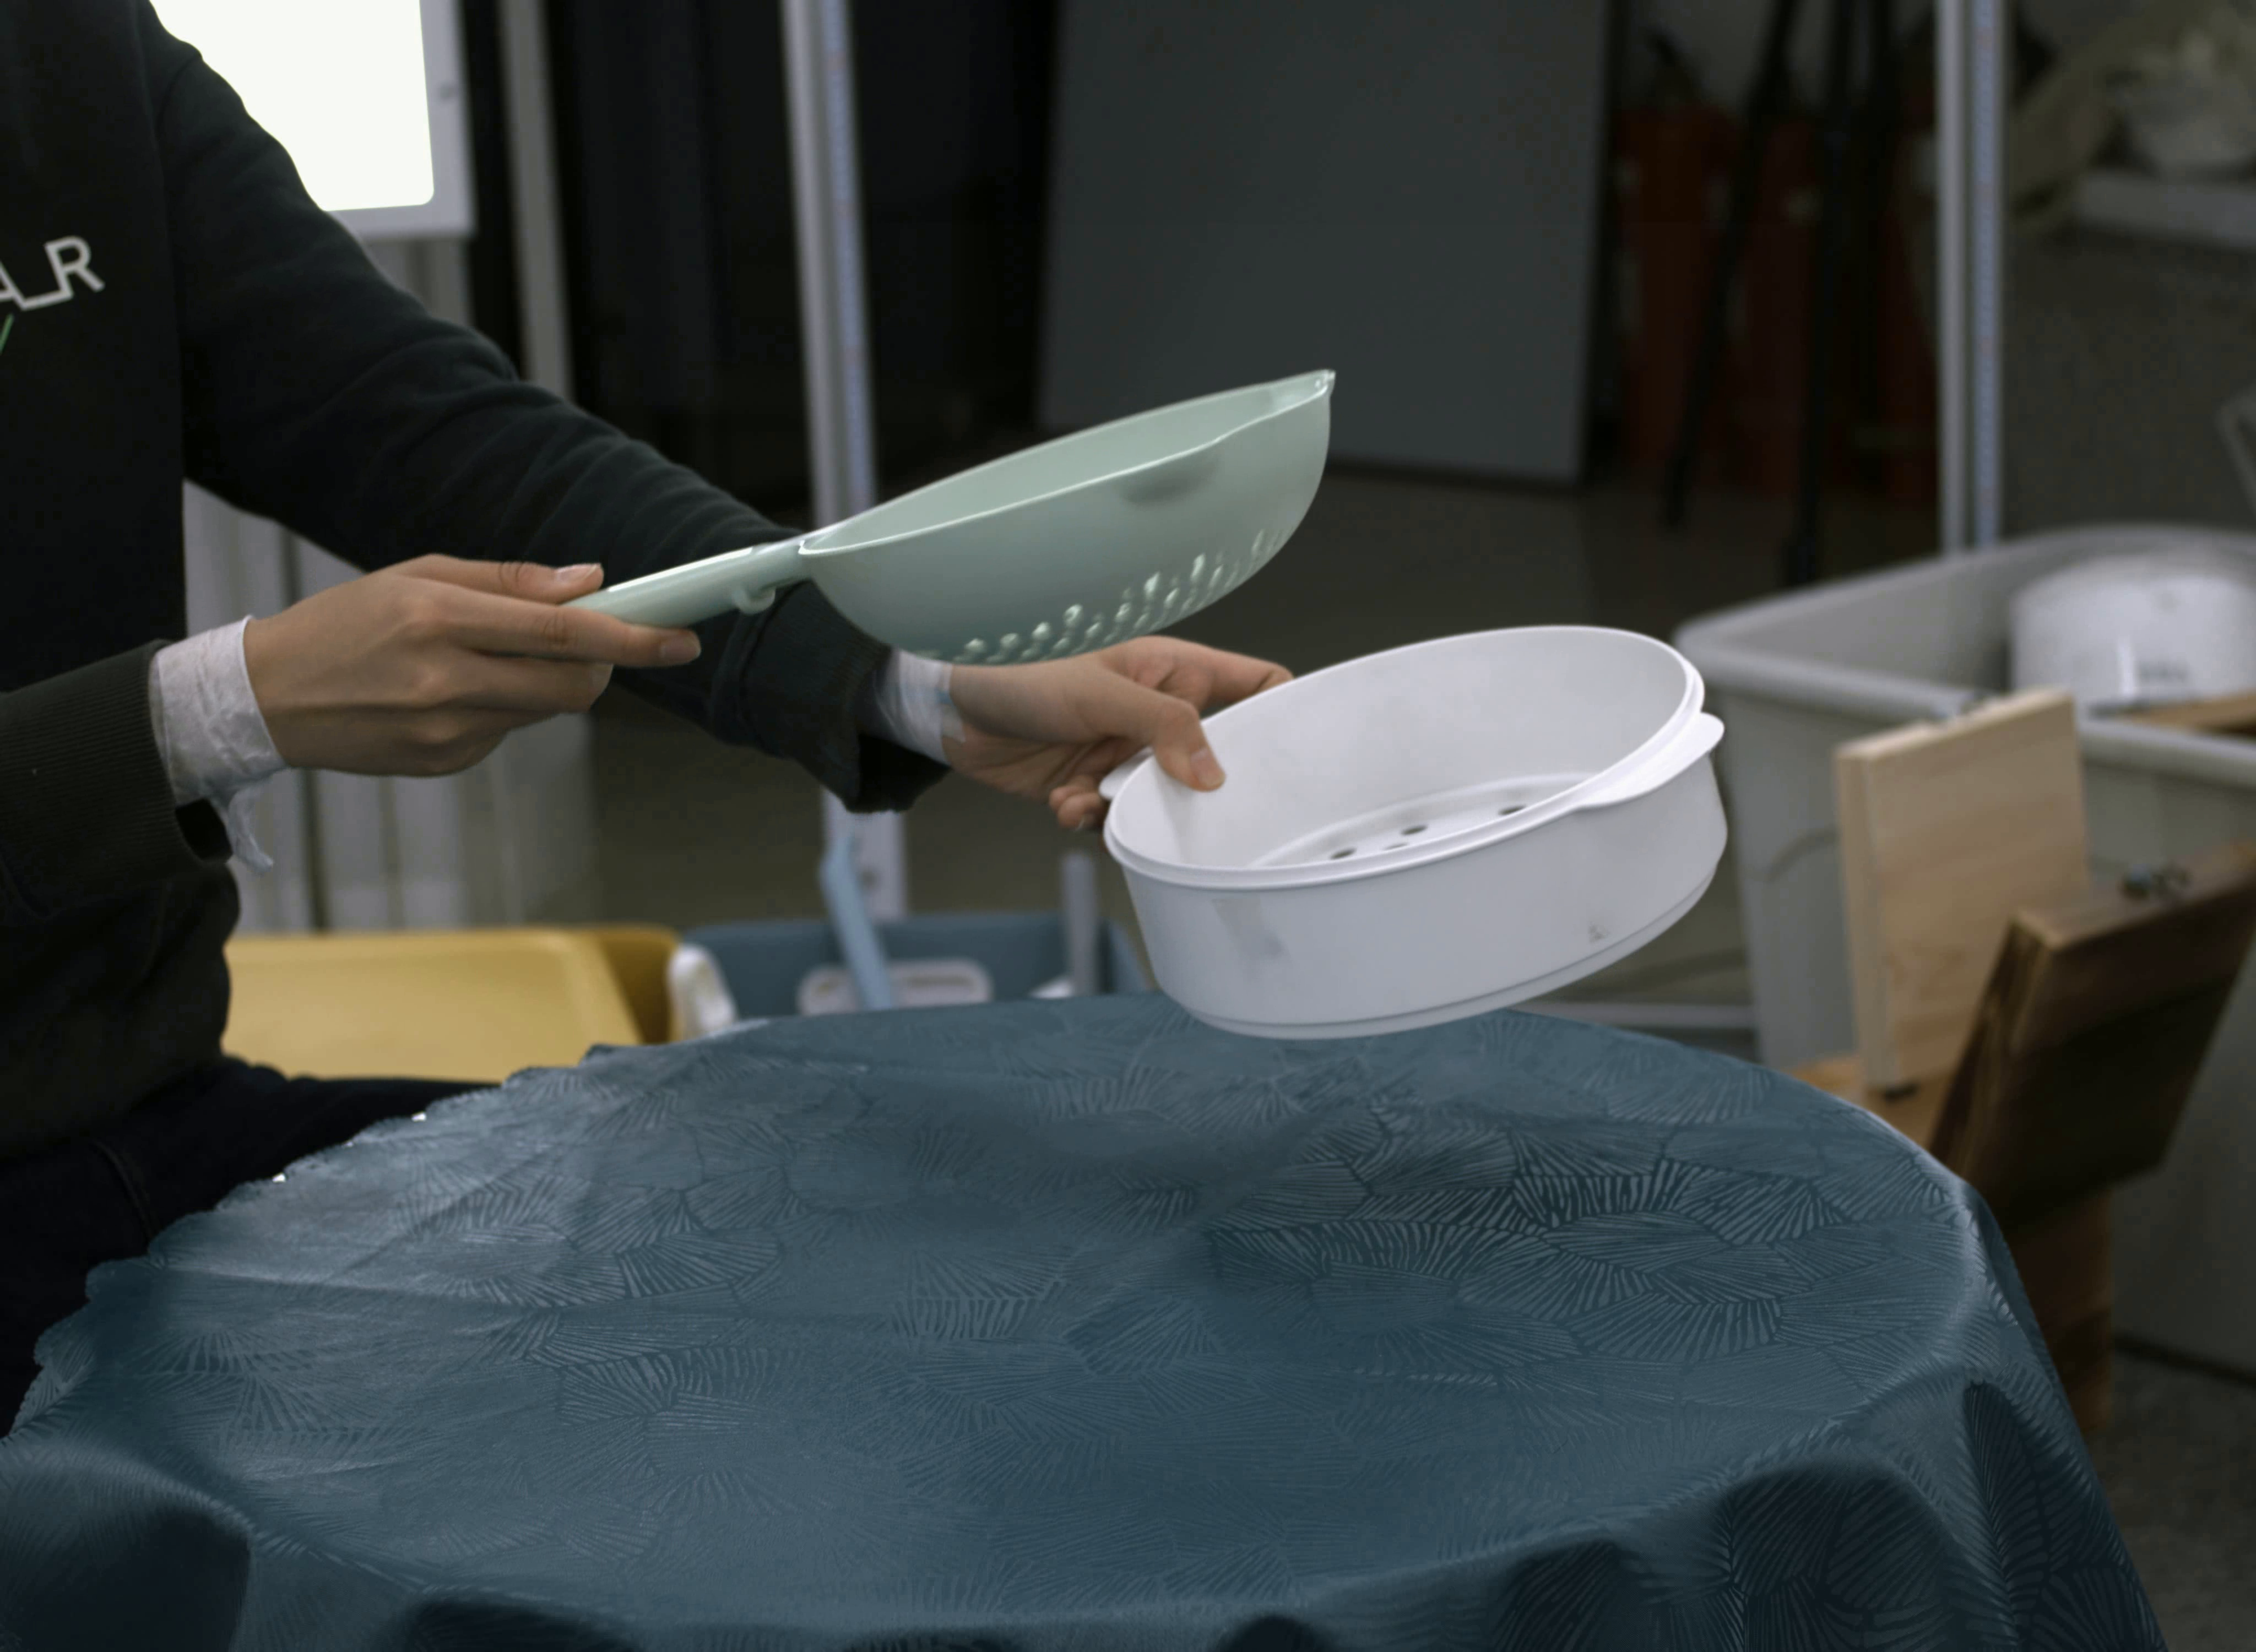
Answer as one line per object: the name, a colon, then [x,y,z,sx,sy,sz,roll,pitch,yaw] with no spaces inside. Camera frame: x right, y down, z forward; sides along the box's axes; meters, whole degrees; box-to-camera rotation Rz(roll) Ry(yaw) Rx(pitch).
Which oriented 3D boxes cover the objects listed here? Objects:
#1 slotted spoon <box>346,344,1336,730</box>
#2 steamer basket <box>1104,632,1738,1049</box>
slotted spoon: [-0.100,-0.083,1.695,0.359,0.076,0.167,-6,12,25]
steamer basket: [0.098,0.005,1.739,0.232,0.070,0.199,-1,23,41]
